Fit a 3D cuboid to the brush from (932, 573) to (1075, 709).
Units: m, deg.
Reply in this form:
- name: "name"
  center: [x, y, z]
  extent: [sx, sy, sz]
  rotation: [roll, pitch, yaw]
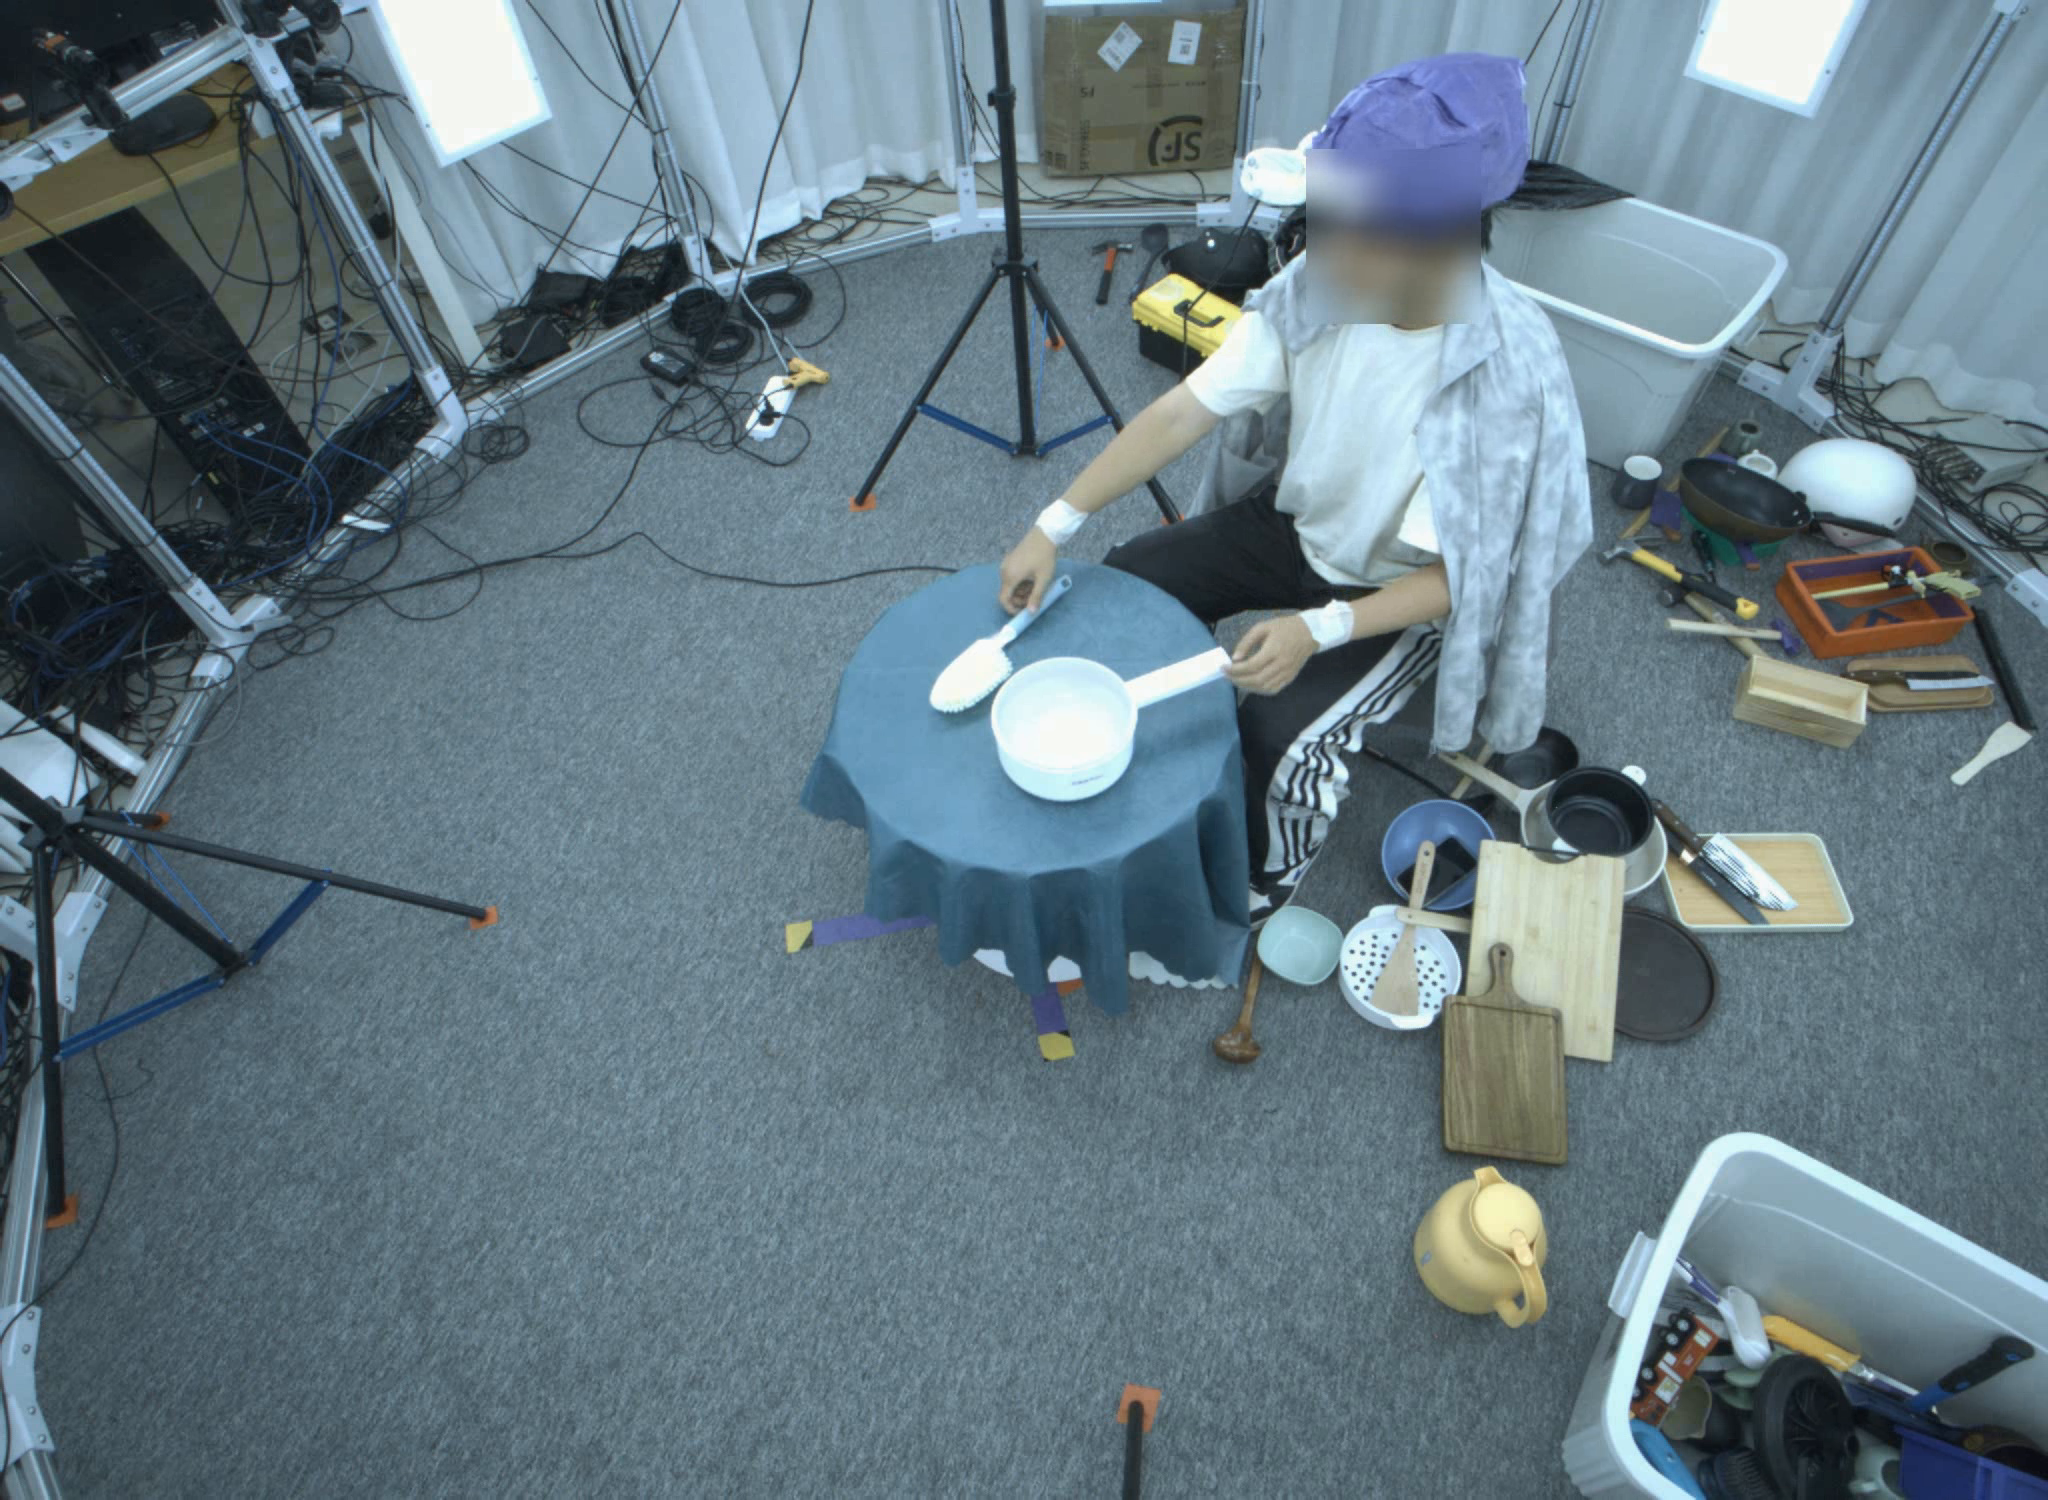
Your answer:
- name: "brush"
  center: [-0.016, -0.175, 1.864]
  extent: [0.083, 0.084, 0.327]
  rotation: [32, 62, 27]

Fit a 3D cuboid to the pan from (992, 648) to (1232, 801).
- name: "pan"
  center: [0.128, -0.051, 1.760]
  extent: [0.357, 0.103, 0.197]
  rotation: [-20, 56, -13]
